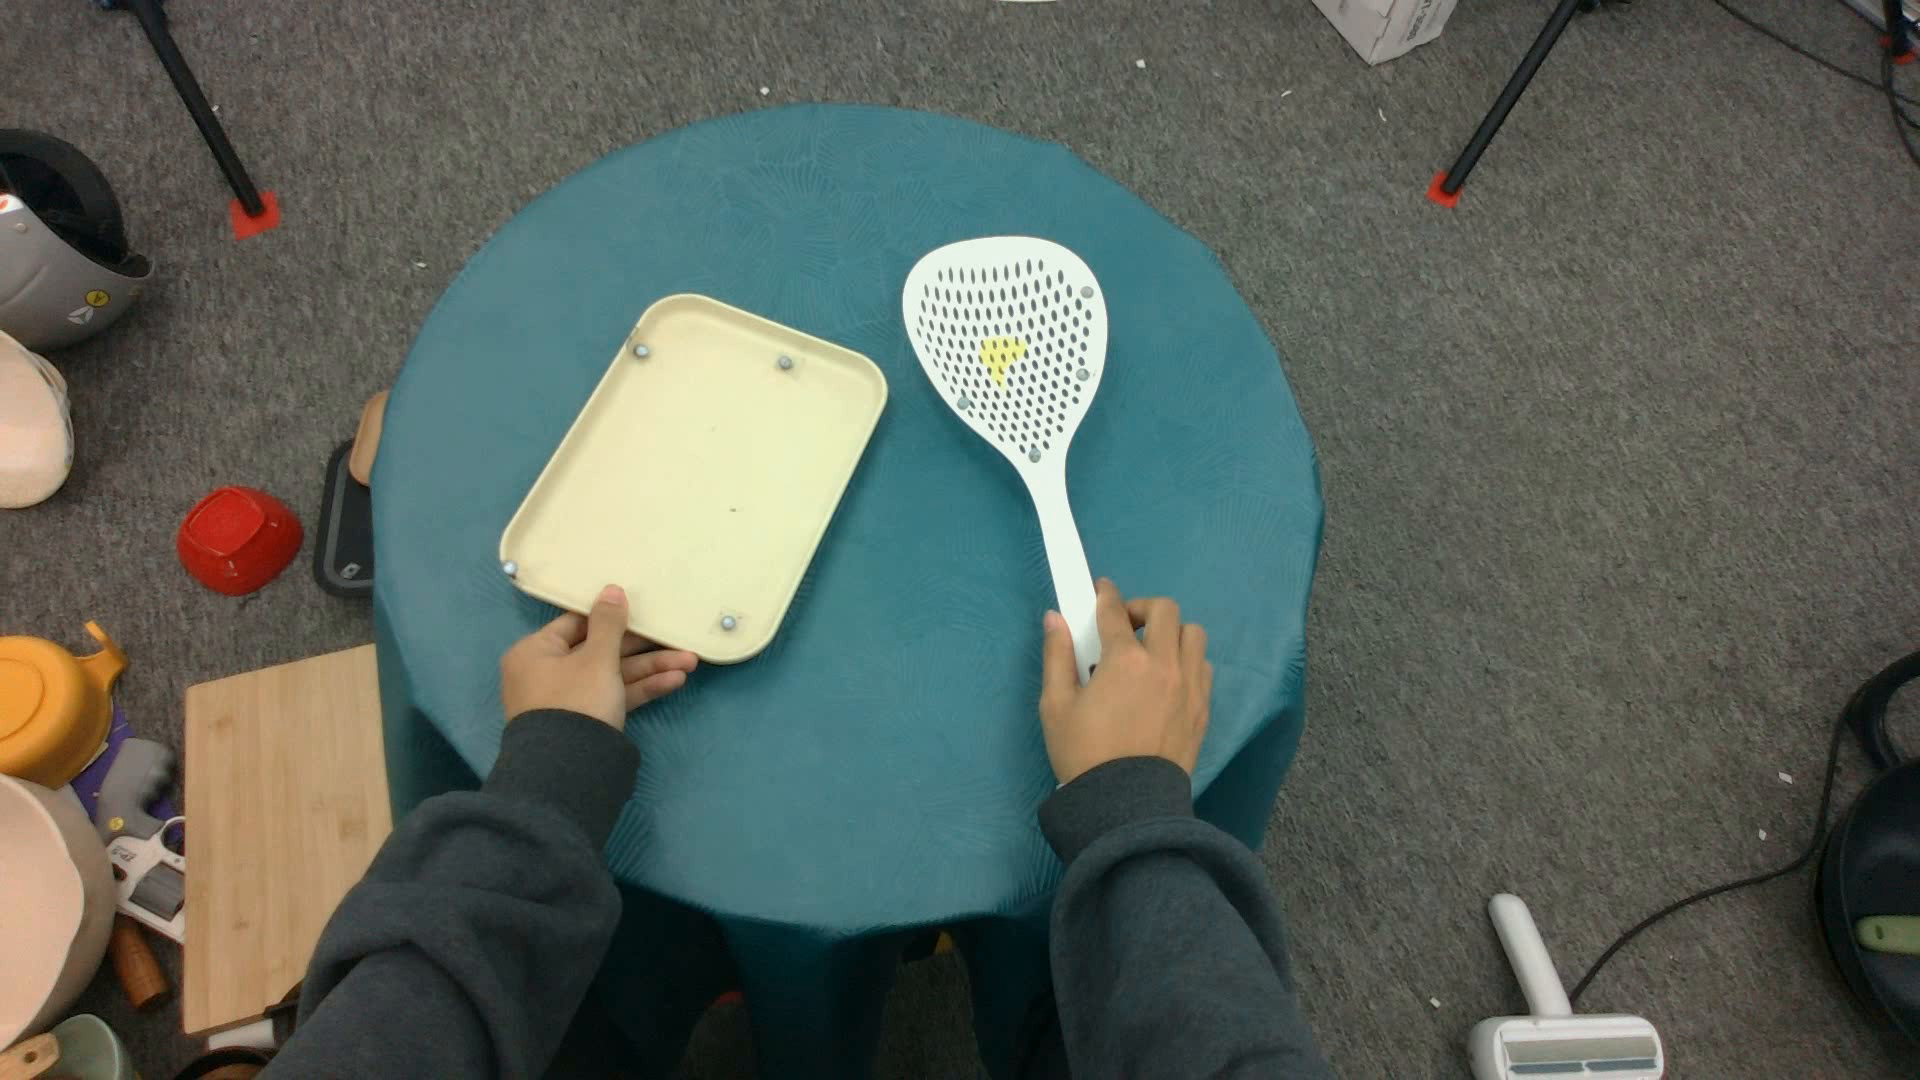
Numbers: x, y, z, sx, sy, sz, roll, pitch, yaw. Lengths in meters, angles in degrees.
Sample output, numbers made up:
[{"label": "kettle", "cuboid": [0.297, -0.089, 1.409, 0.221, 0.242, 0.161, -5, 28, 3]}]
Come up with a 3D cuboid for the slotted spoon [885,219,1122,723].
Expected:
[{"label": "slotted spoon", "cuboid": [0.043, -0.053, 0.865, 0.137, 0.050, 0.349, -9, 63, -11]}]

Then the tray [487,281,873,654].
[{"label": "tray", "cuboid": [-0.166, -0.050, 0.849, 0.171, 0.017, 0.241, 21, 60, 2]}]
